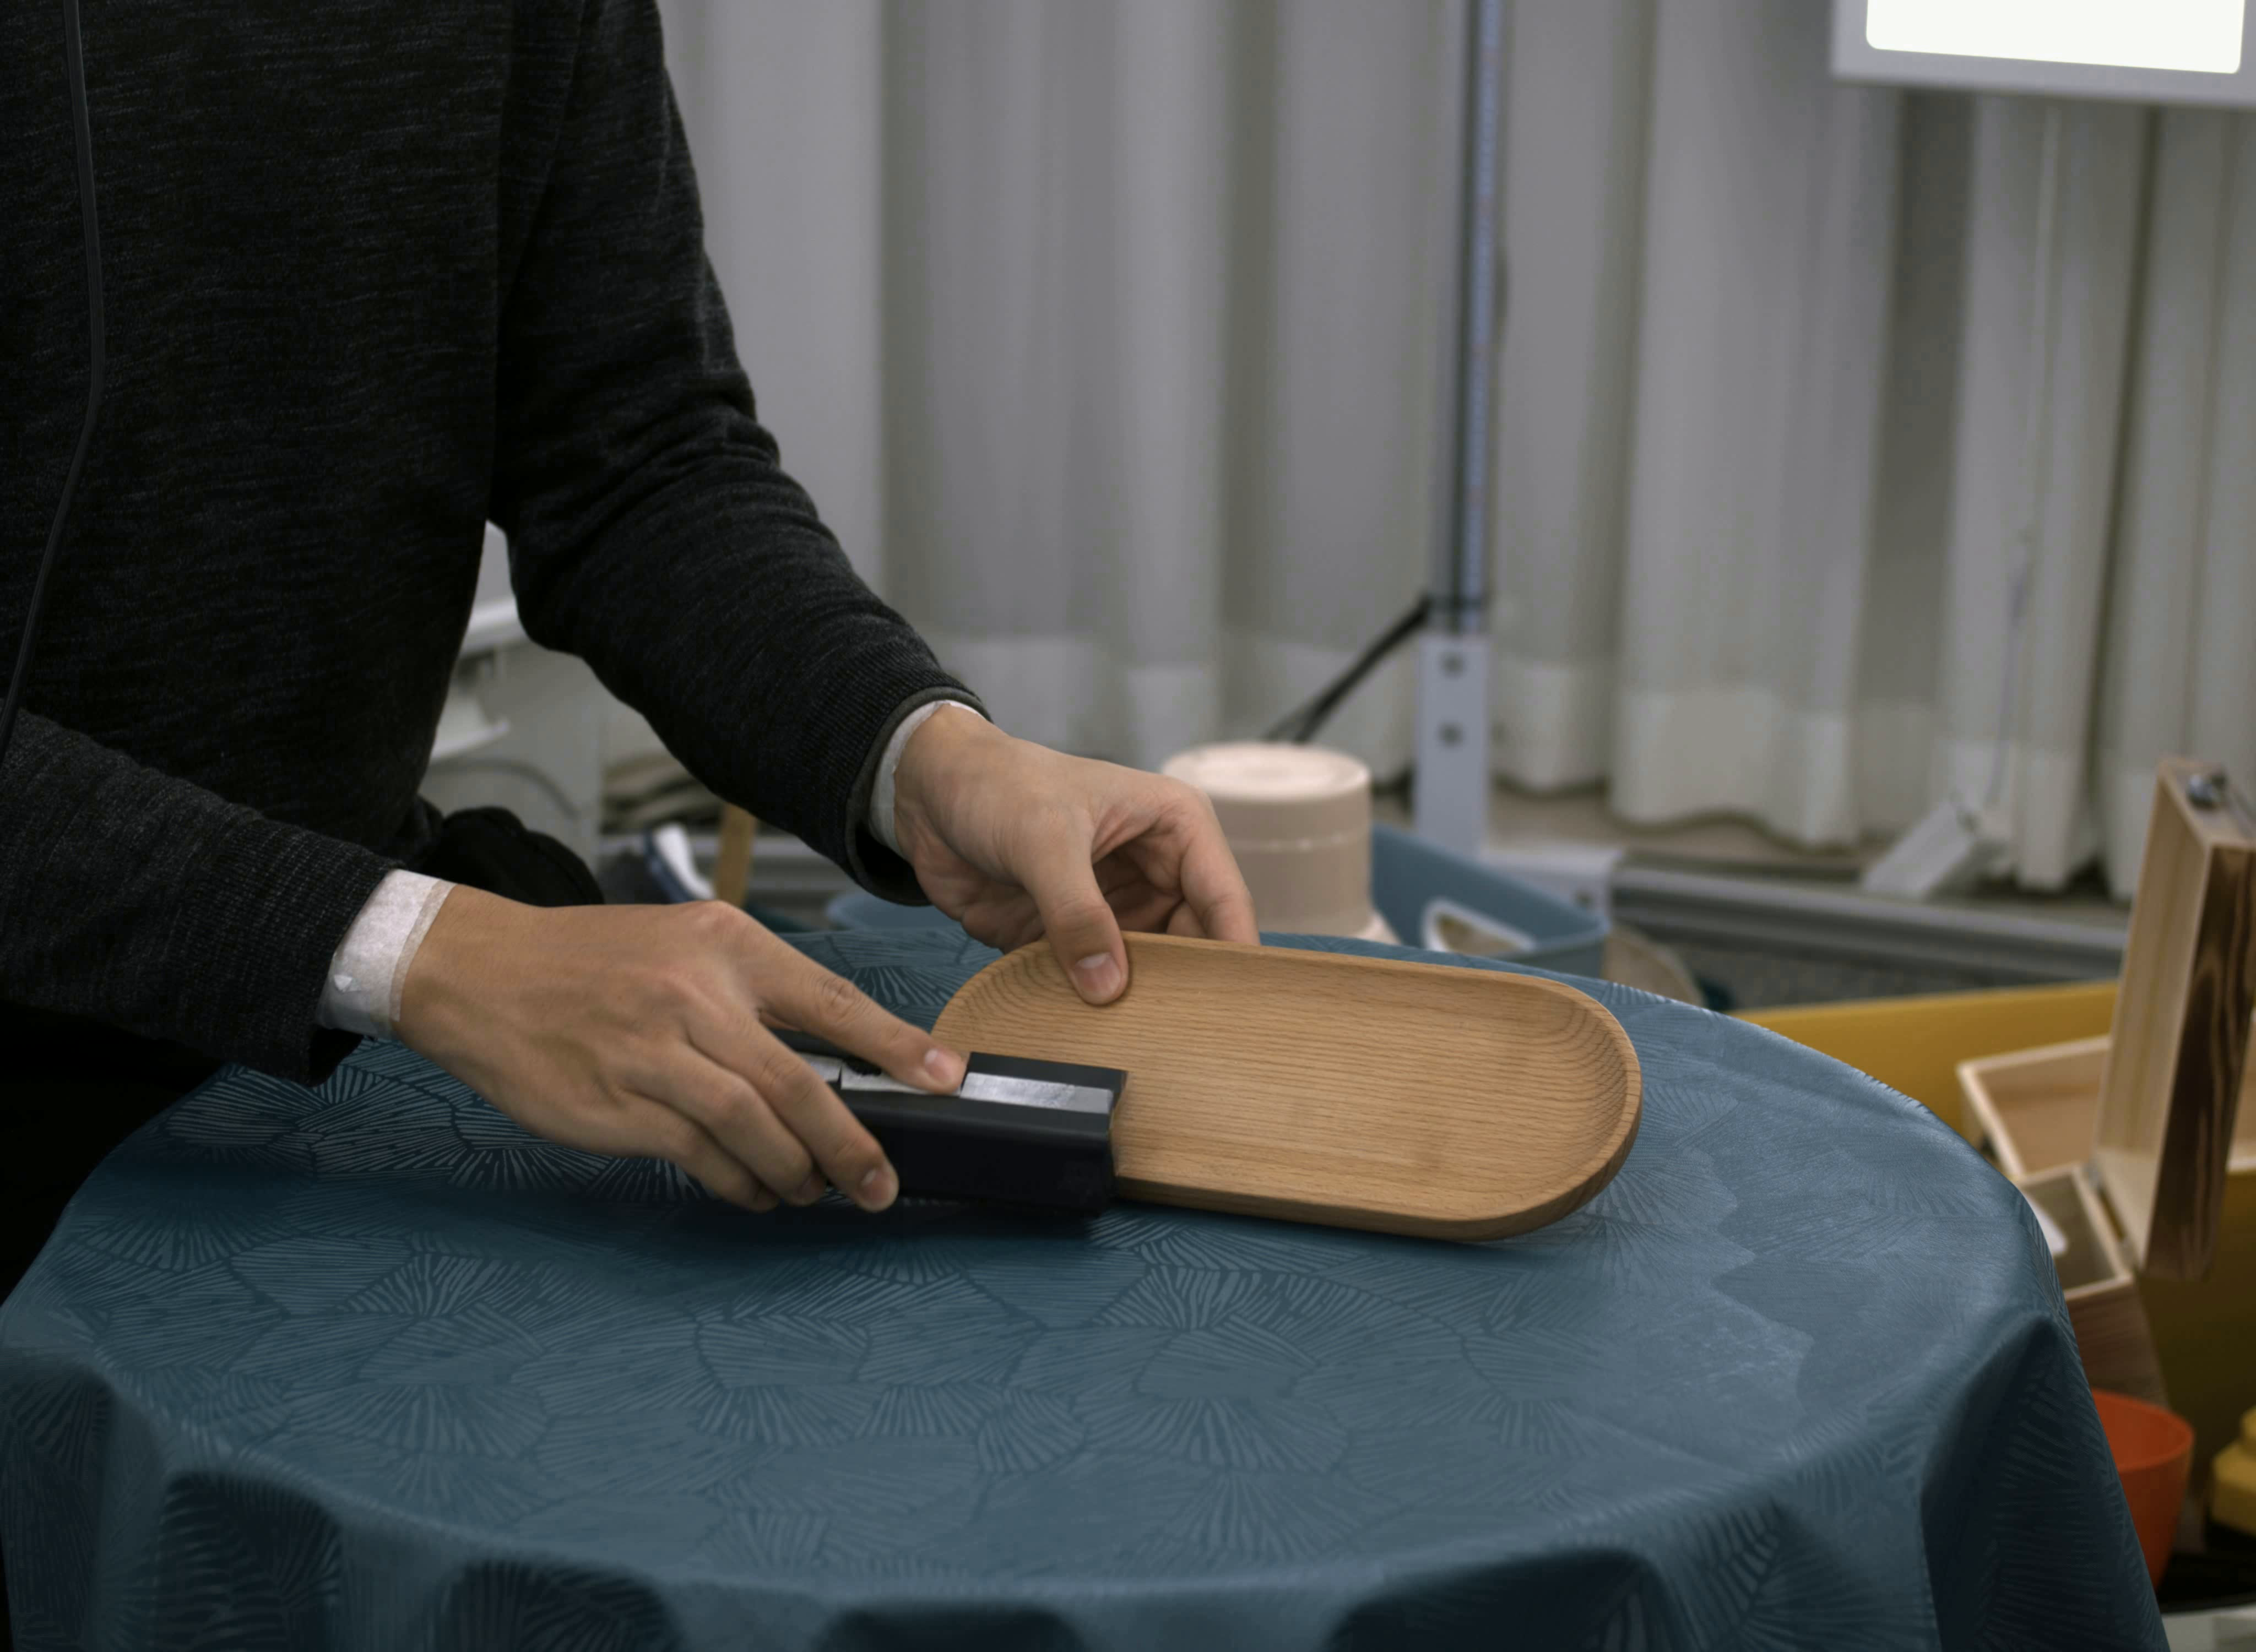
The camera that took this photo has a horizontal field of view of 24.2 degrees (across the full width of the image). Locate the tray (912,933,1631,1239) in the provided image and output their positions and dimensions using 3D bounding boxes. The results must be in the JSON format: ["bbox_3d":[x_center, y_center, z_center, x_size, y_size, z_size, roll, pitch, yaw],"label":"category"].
[{"bbox_3d":[0.043,0.080,1.628,0.229,0.020,0.101,5,45,20],"label":"tray"}]

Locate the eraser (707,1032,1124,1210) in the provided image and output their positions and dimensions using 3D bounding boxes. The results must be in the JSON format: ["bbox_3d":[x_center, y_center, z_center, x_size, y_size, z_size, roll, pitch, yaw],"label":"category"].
[{"bbox_3d":[-0.064,0.089,1.592,0.125,0.031,0.053,5,23,-2],"label":"eraser"}]
